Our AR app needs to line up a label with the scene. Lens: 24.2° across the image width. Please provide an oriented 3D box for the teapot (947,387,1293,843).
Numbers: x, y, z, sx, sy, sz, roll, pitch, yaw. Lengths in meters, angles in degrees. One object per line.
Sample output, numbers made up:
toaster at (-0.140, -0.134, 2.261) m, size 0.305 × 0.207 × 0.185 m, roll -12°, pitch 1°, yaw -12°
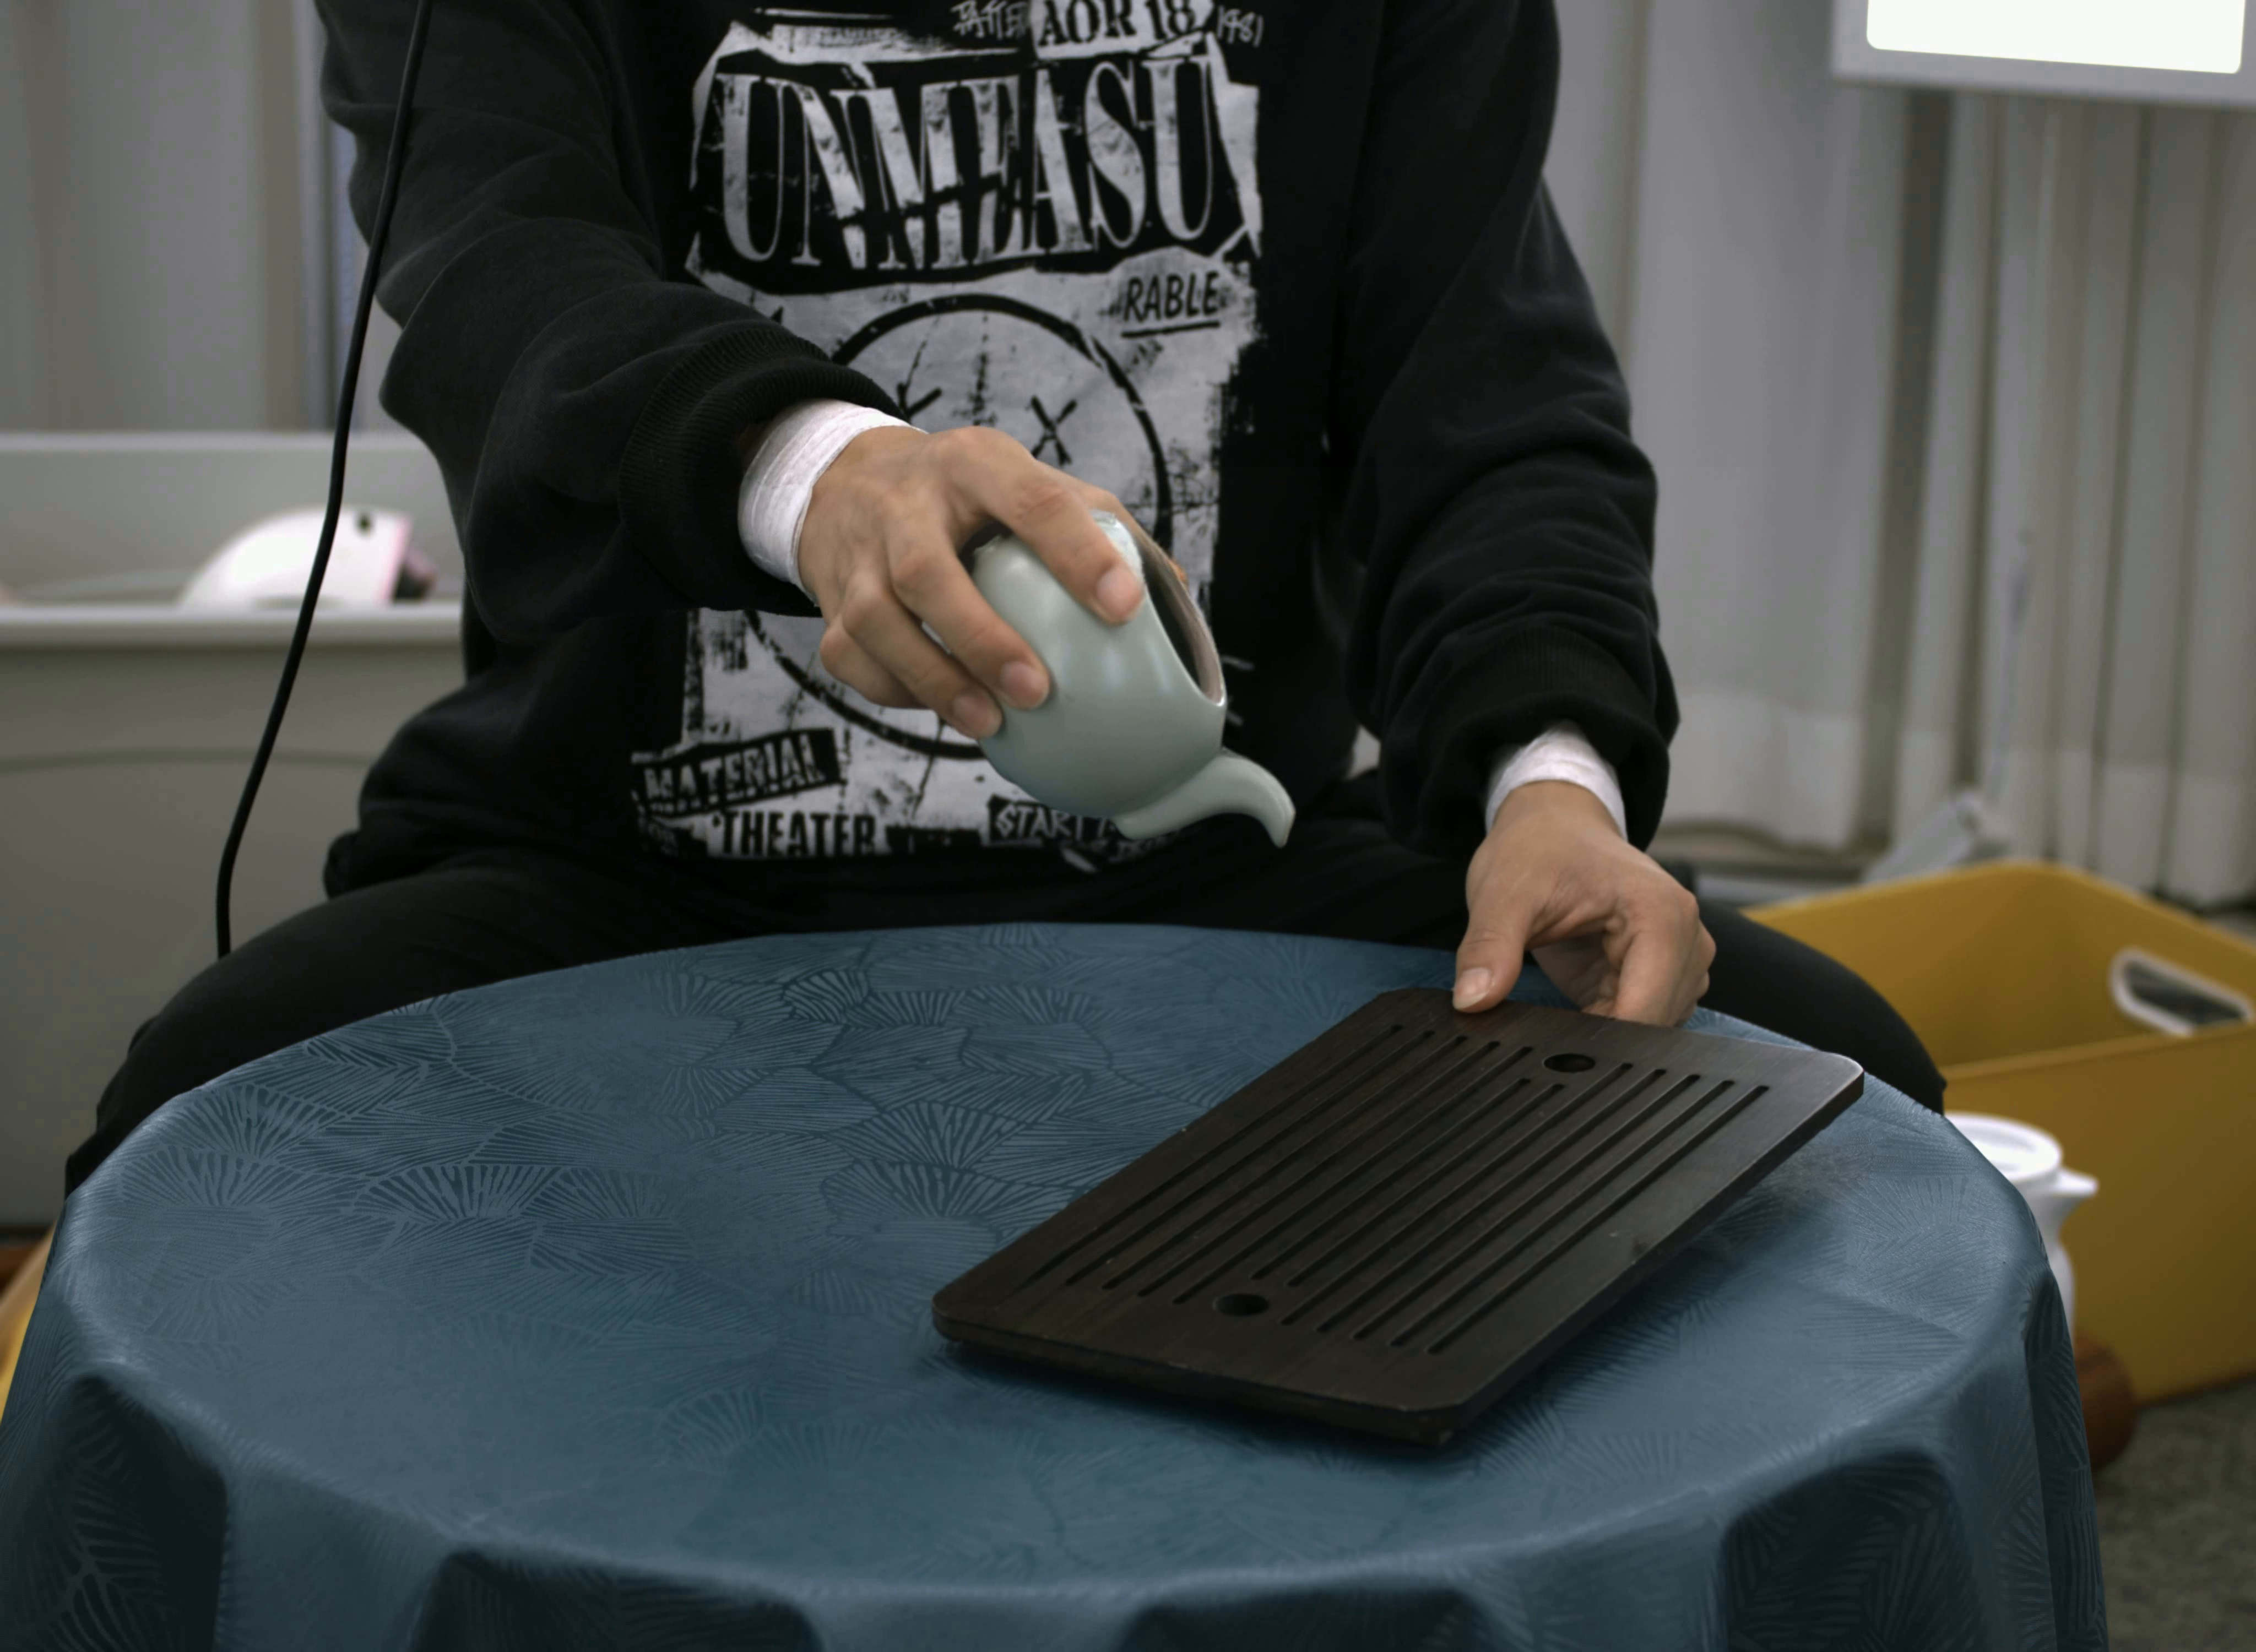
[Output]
teapot at (-0.010, -0.049, 1.515) m, size 0.074 × 0.144 × 0.088 m, roll -22°, pitch 5°, yaw 12°

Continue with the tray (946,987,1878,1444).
tray at (0.091, 0.112, 1.567) m, size 0.168 × 0.019 × 0.306 m, roll 9°, pitch 20°, yaw 28°
